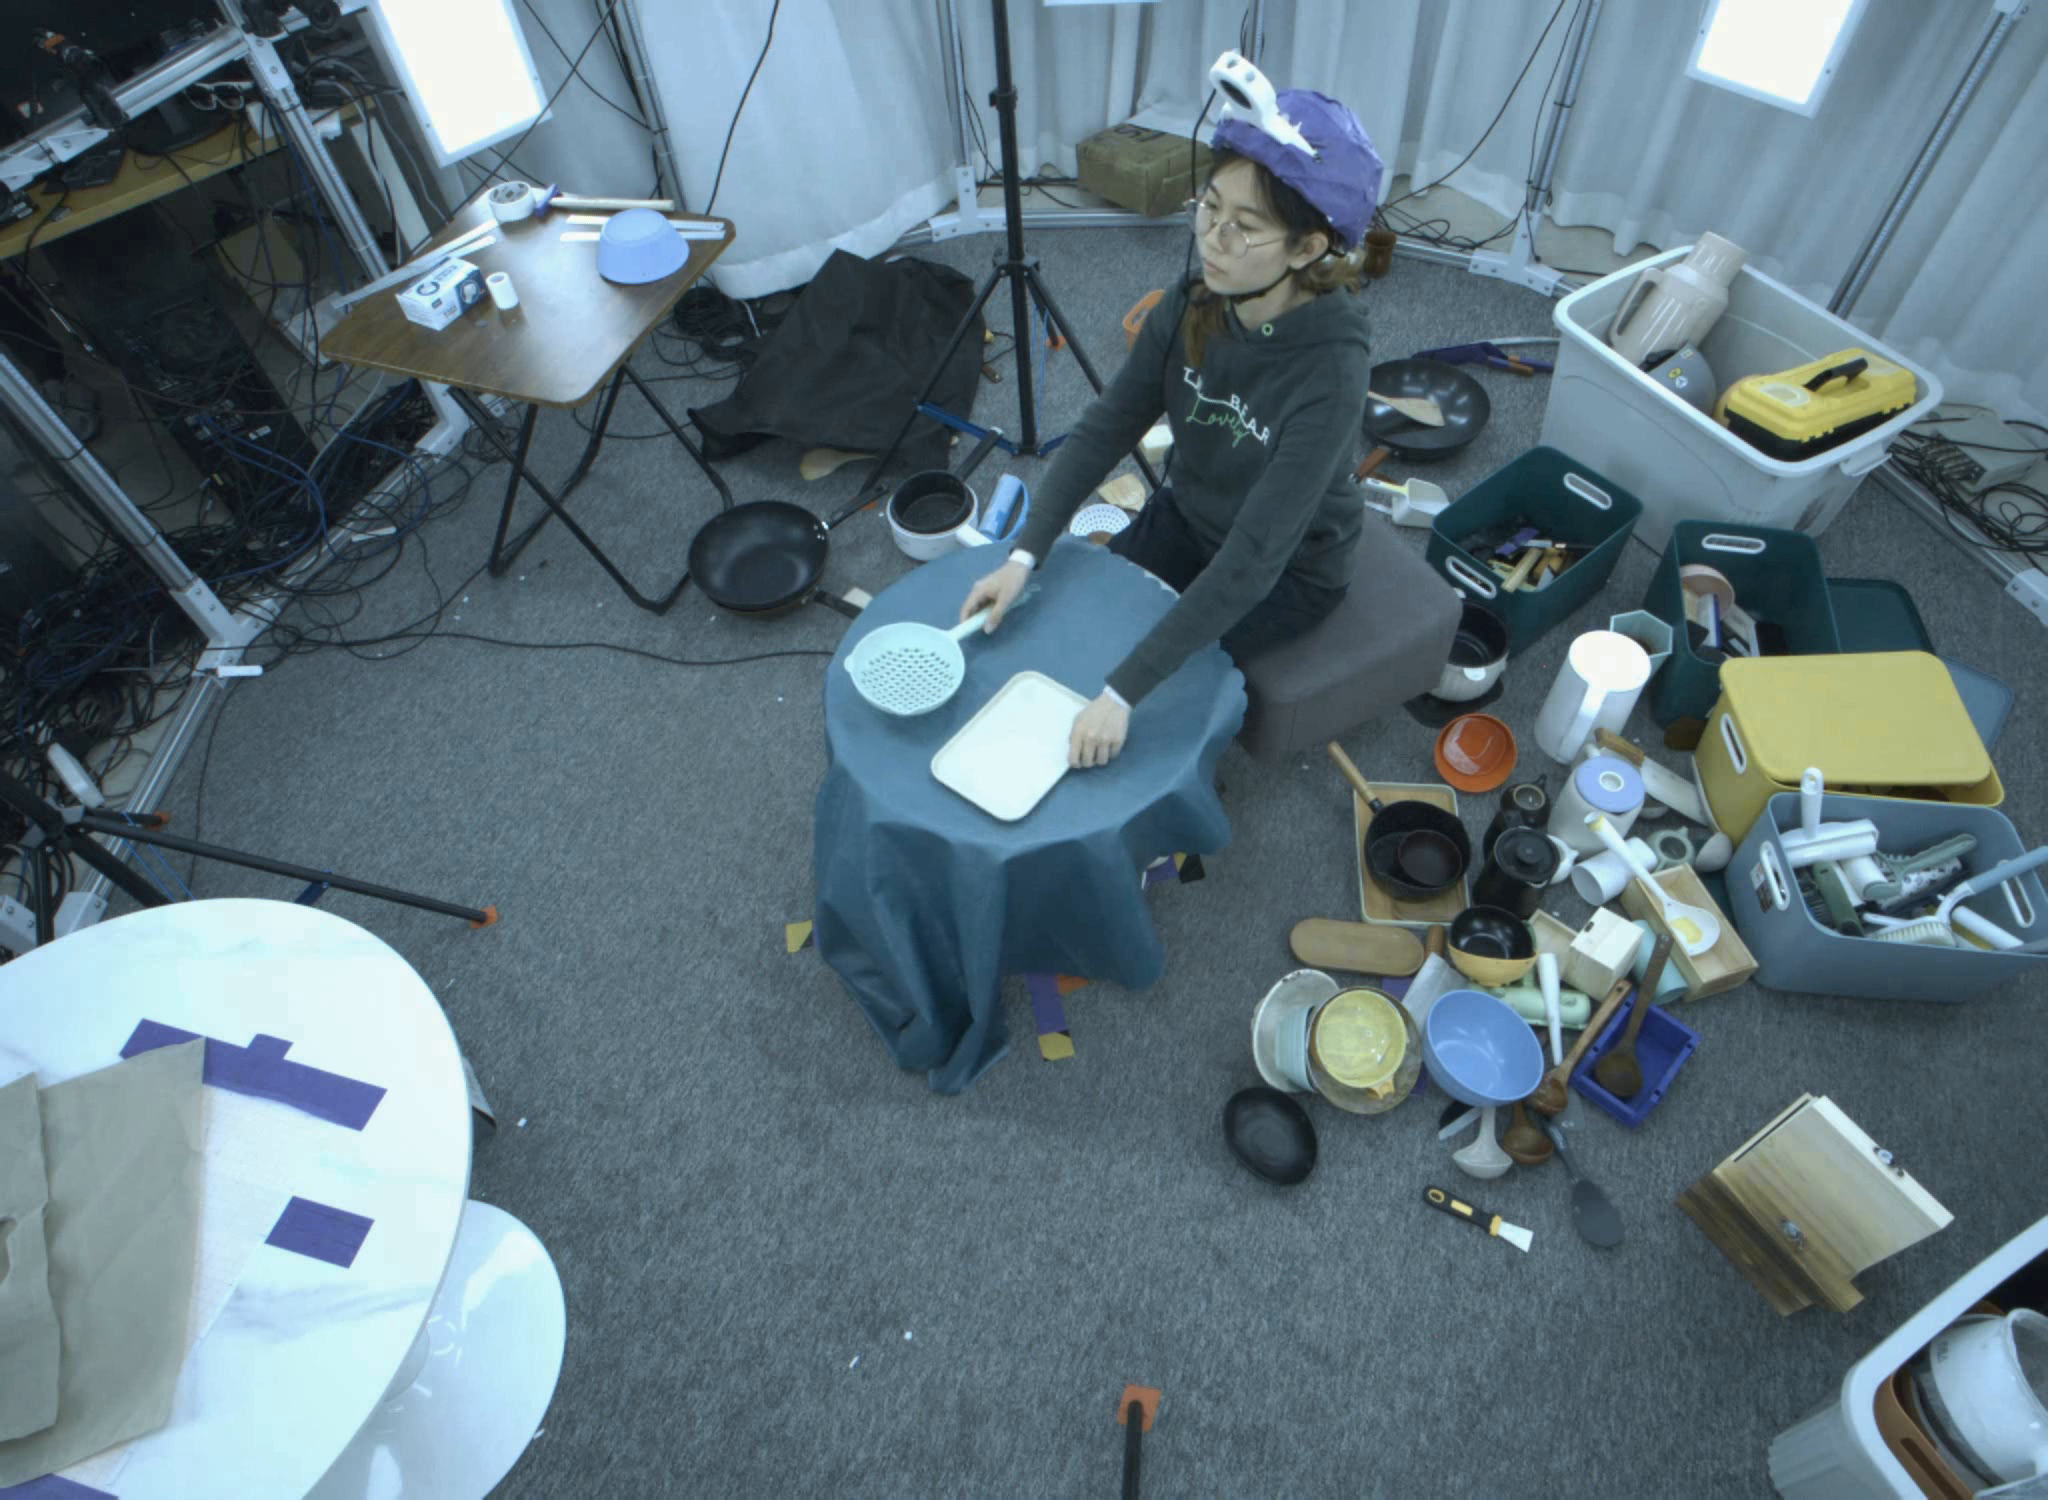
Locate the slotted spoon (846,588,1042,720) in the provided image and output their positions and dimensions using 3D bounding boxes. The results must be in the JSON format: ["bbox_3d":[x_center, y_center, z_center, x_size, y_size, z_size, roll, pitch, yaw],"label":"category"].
[{"bbox_3d":[-0.103,-0.166,1.875,0.167,0.076,0.361,41,67,19],"label":"slotted spoon"}]

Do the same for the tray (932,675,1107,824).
[{"bbox_3d":[-0.005,-0.003,1.787,0.168,0.018,0.241,31,61,23],"label":"tray"}]
